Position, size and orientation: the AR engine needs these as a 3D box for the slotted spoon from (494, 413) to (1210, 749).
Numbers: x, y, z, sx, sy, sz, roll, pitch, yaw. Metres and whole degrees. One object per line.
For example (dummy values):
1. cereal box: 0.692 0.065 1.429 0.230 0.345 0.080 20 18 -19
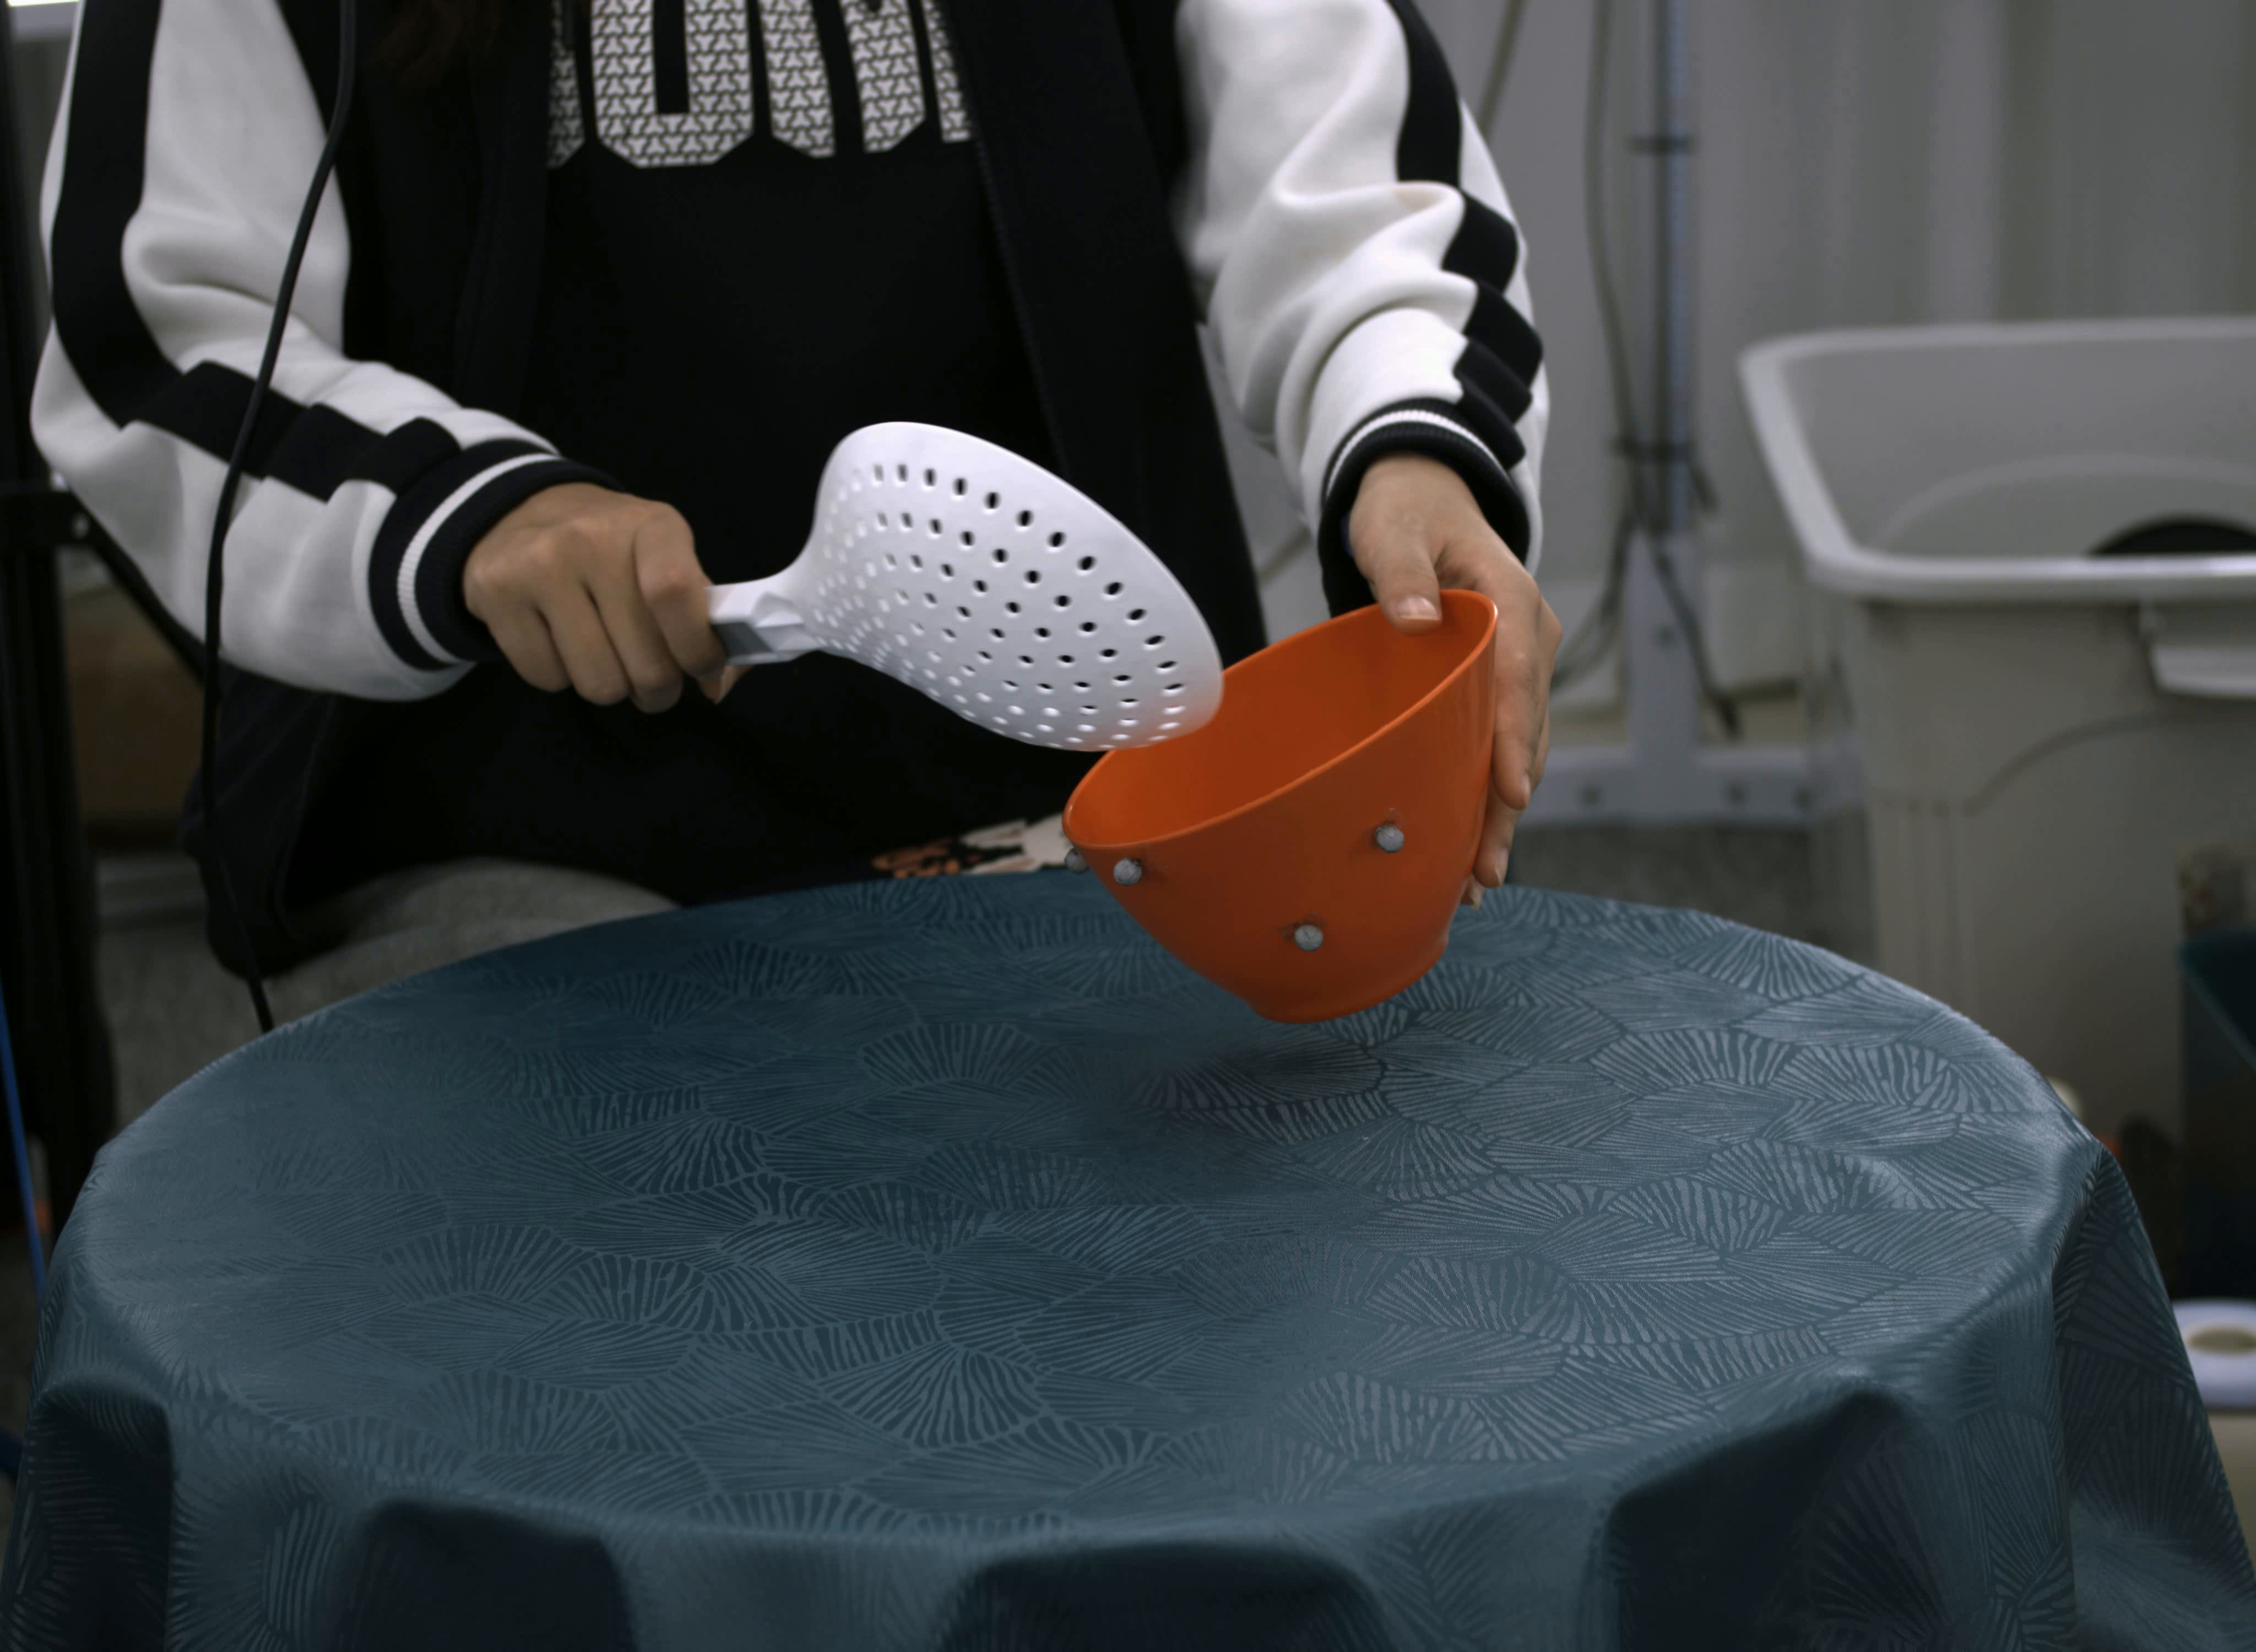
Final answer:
1. slotted spoon: -0.102 -0.066 1.661 0.045 0.134 0.357 -51 26 -20

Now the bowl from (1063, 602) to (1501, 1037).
1. bowl: 0.060 0.005 1.632 0.148 0.104 0.149 -20 22 7
